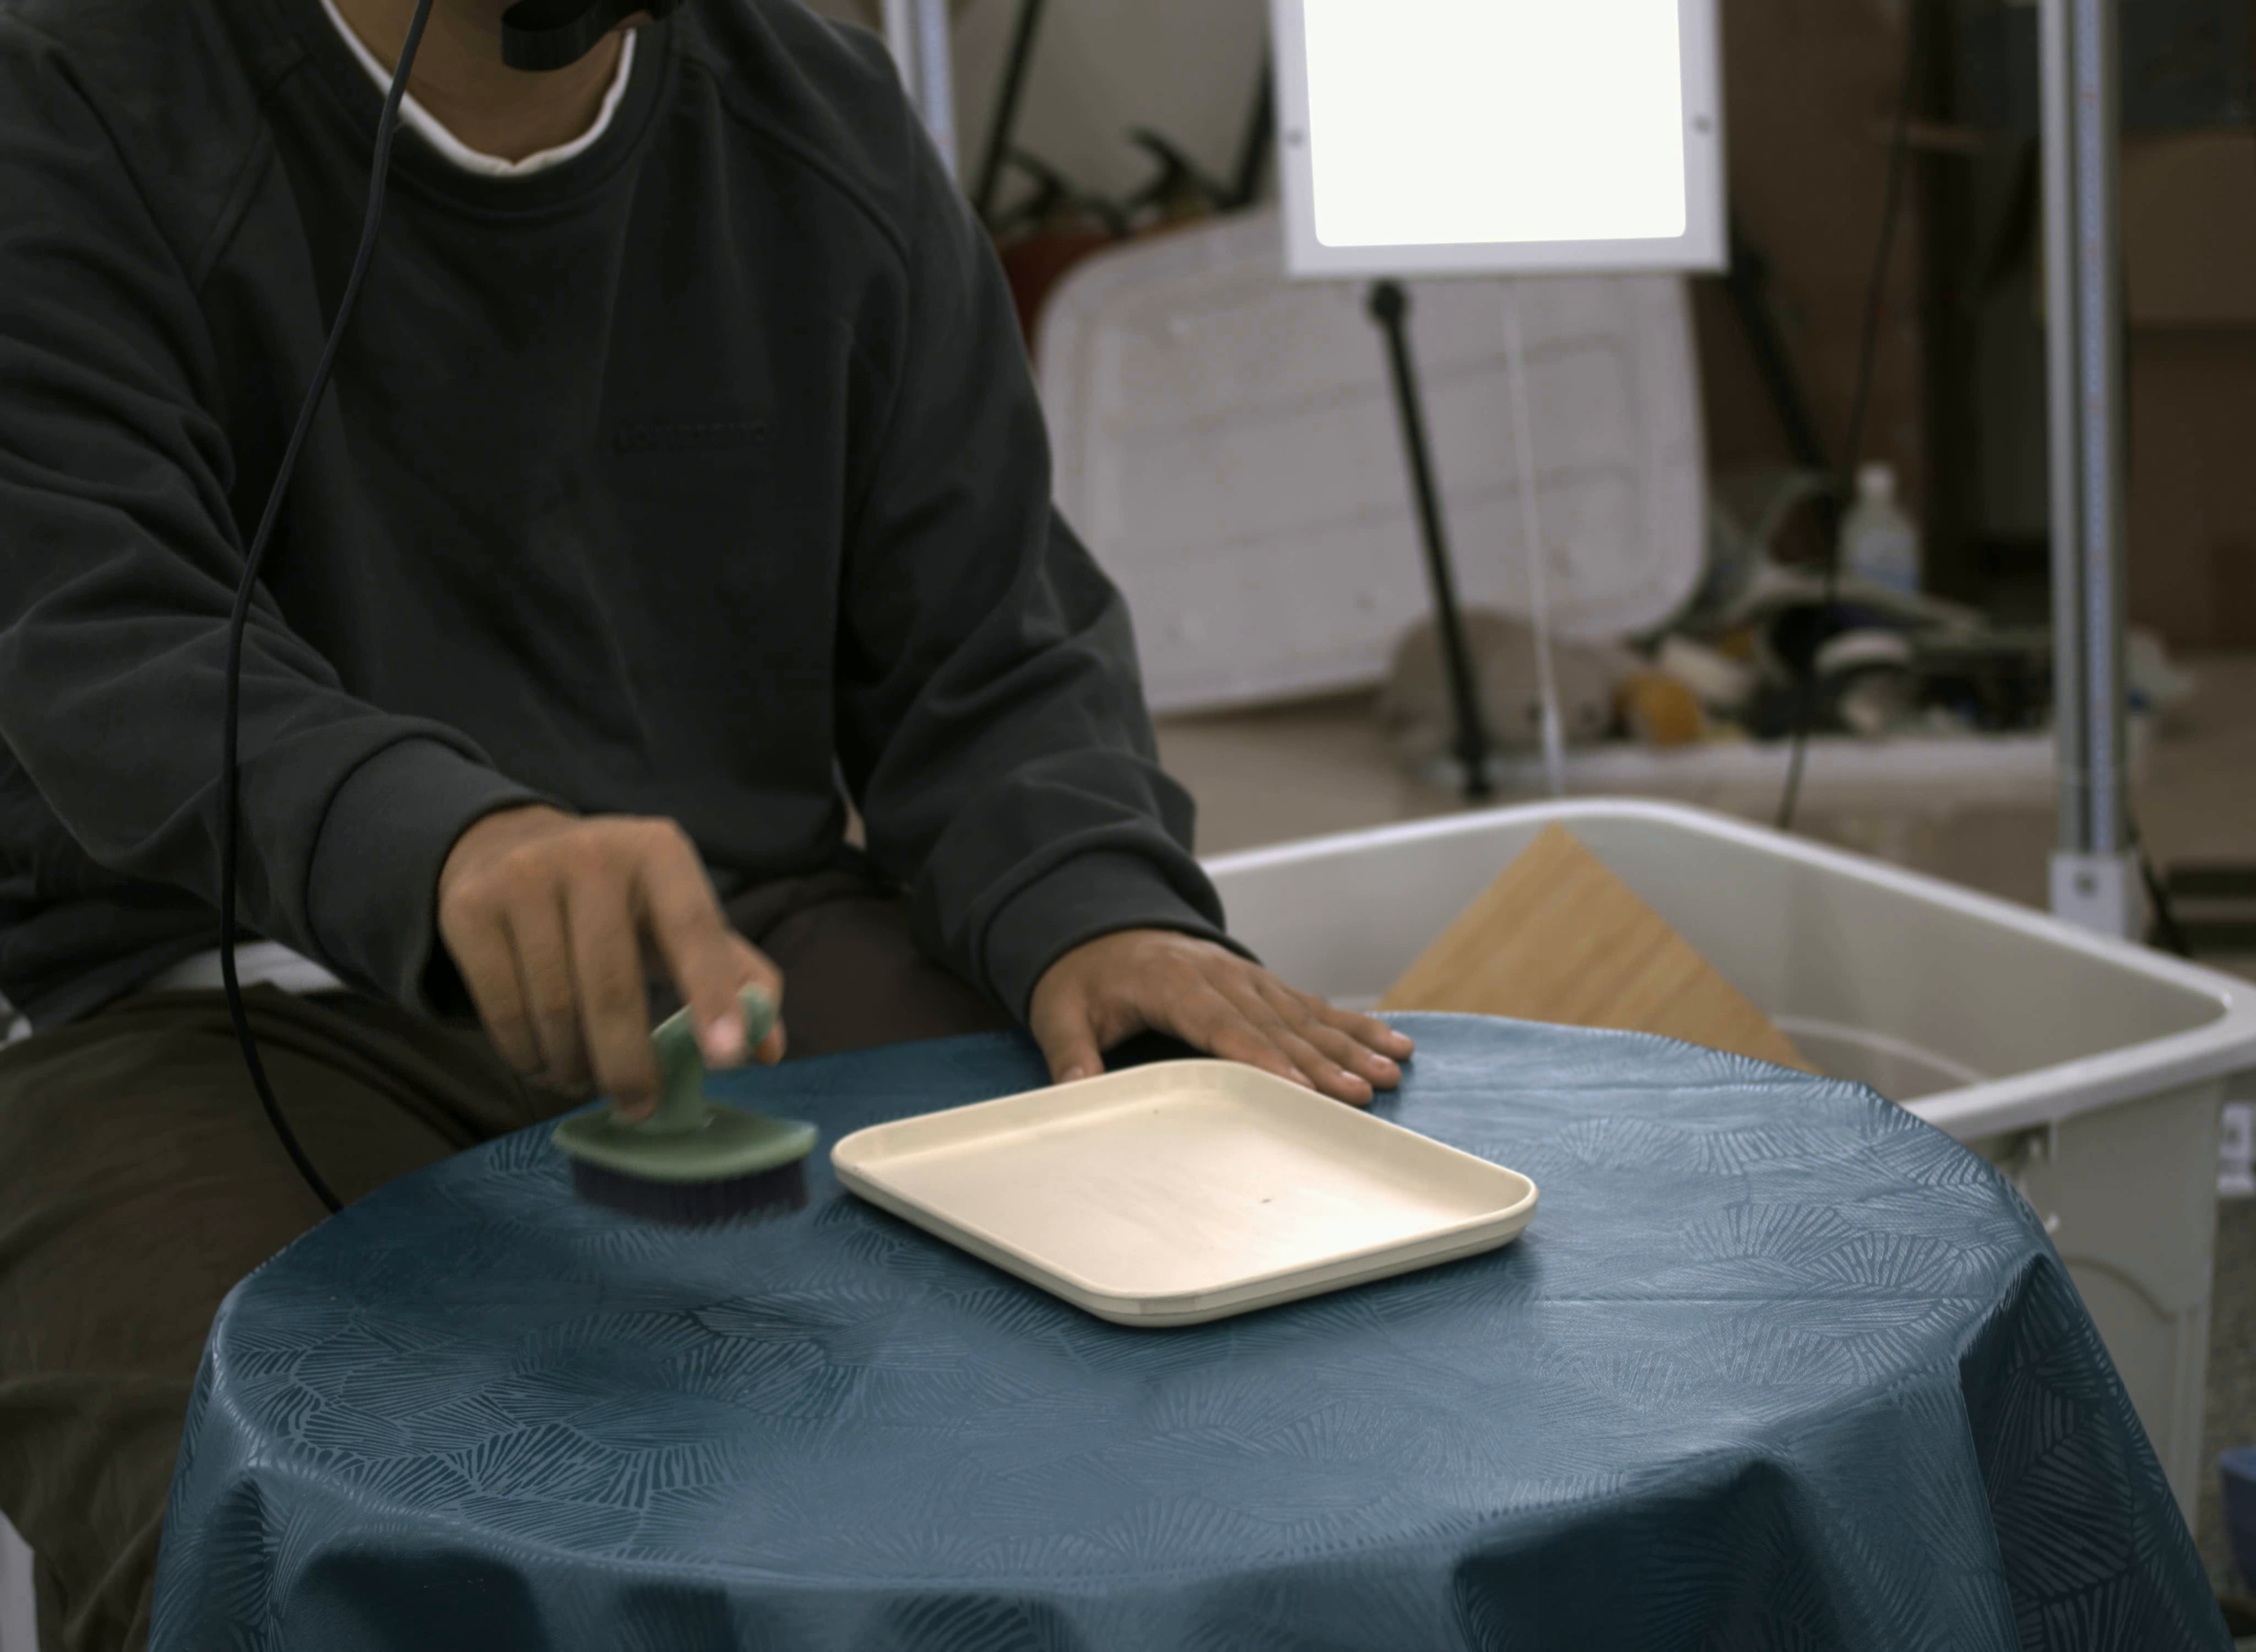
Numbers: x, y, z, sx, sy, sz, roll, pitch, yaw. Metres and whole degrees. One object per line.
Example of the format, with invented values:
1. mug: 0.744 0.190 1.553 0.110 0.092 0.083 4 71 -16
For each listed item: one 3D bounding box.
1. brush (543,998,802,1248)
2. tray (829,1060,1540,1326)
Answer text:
1. brush: -0.148 0.100 1.788 0.058 0.076 0.125 -11 -3 -28
2. tray: 0.017 0.123 1.868 0.167 0.017 0.244 -11 15 -26
